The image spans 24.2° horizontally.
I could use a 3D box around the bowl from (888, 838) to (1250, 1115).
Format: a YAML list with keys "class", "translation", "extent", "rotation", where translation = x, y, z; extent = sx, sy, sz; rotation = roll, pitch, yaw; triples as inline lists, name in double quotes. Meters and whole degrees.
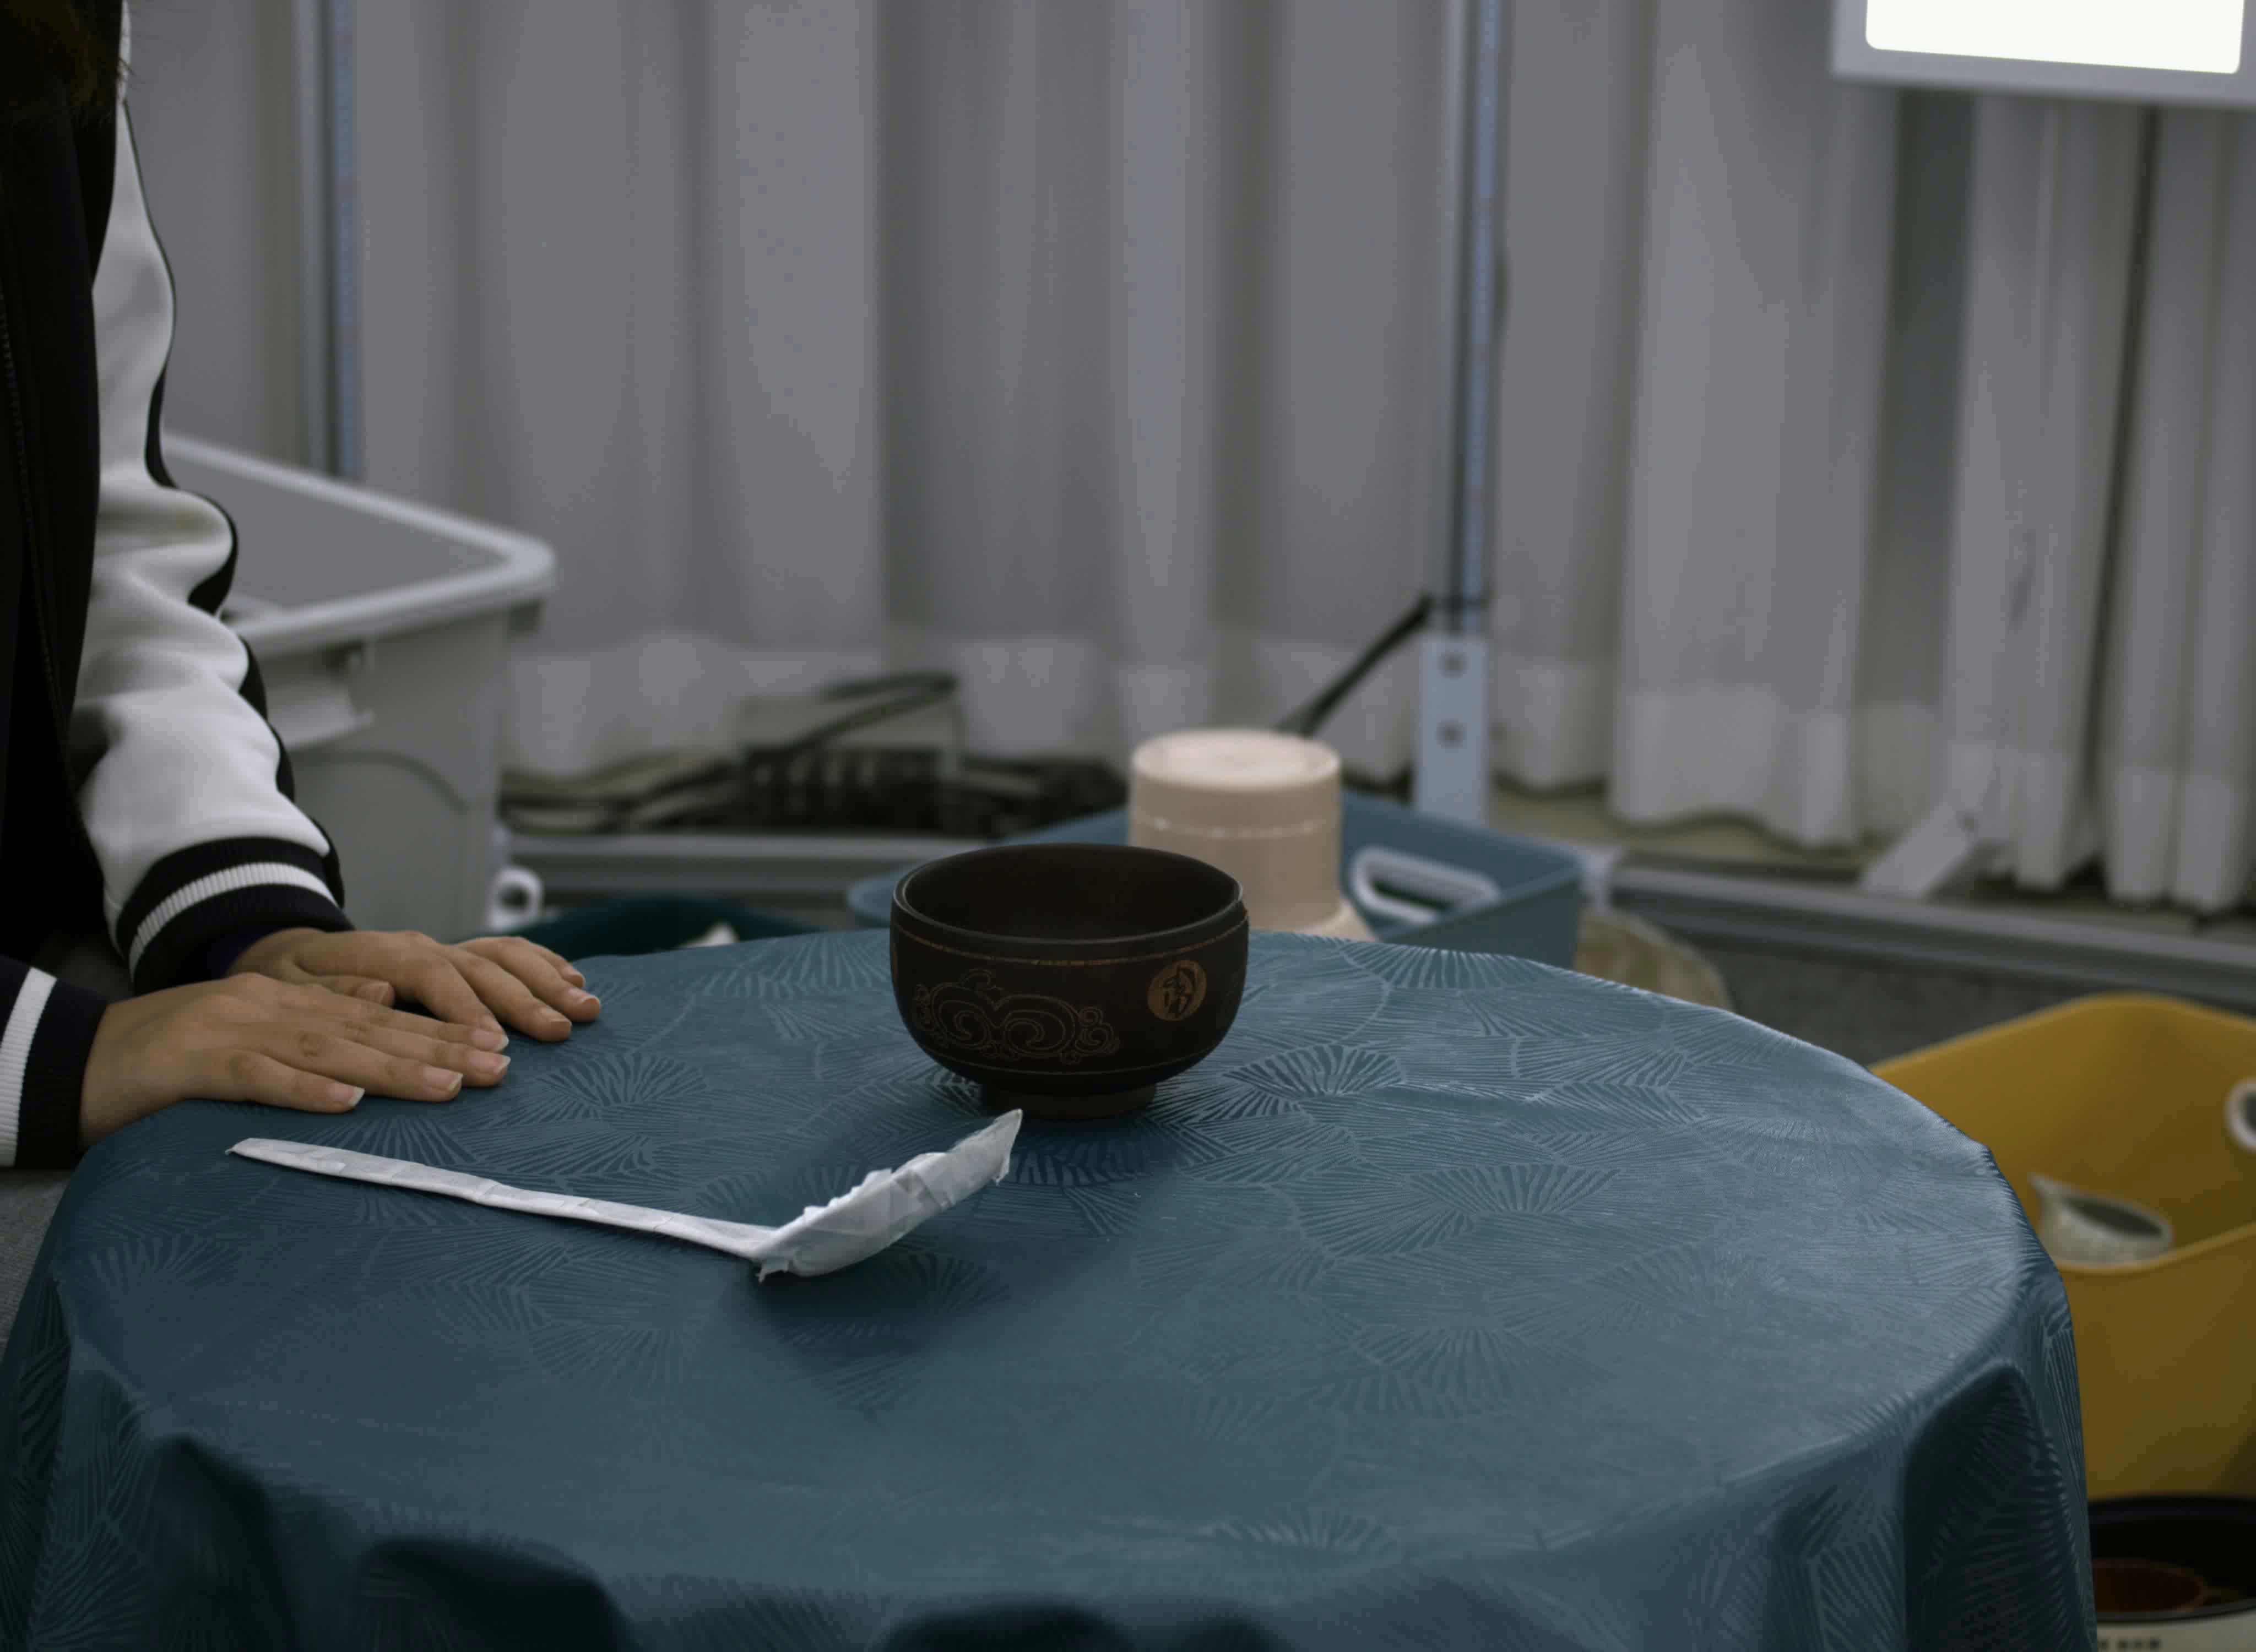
- class: "bowl"
  translation: [-0.019, 0.052, 1.702]
  extent: [0.117, 0.070, 0.117]
  rotation: [0, 15, 0]

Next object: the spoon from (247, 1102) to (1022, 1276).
- class: "spoon"
  translation: [-0.155, 0.090, 1.588]
  extent: [0.274, 0.060, 0.101]
  rotation: [10, 16, 29]
